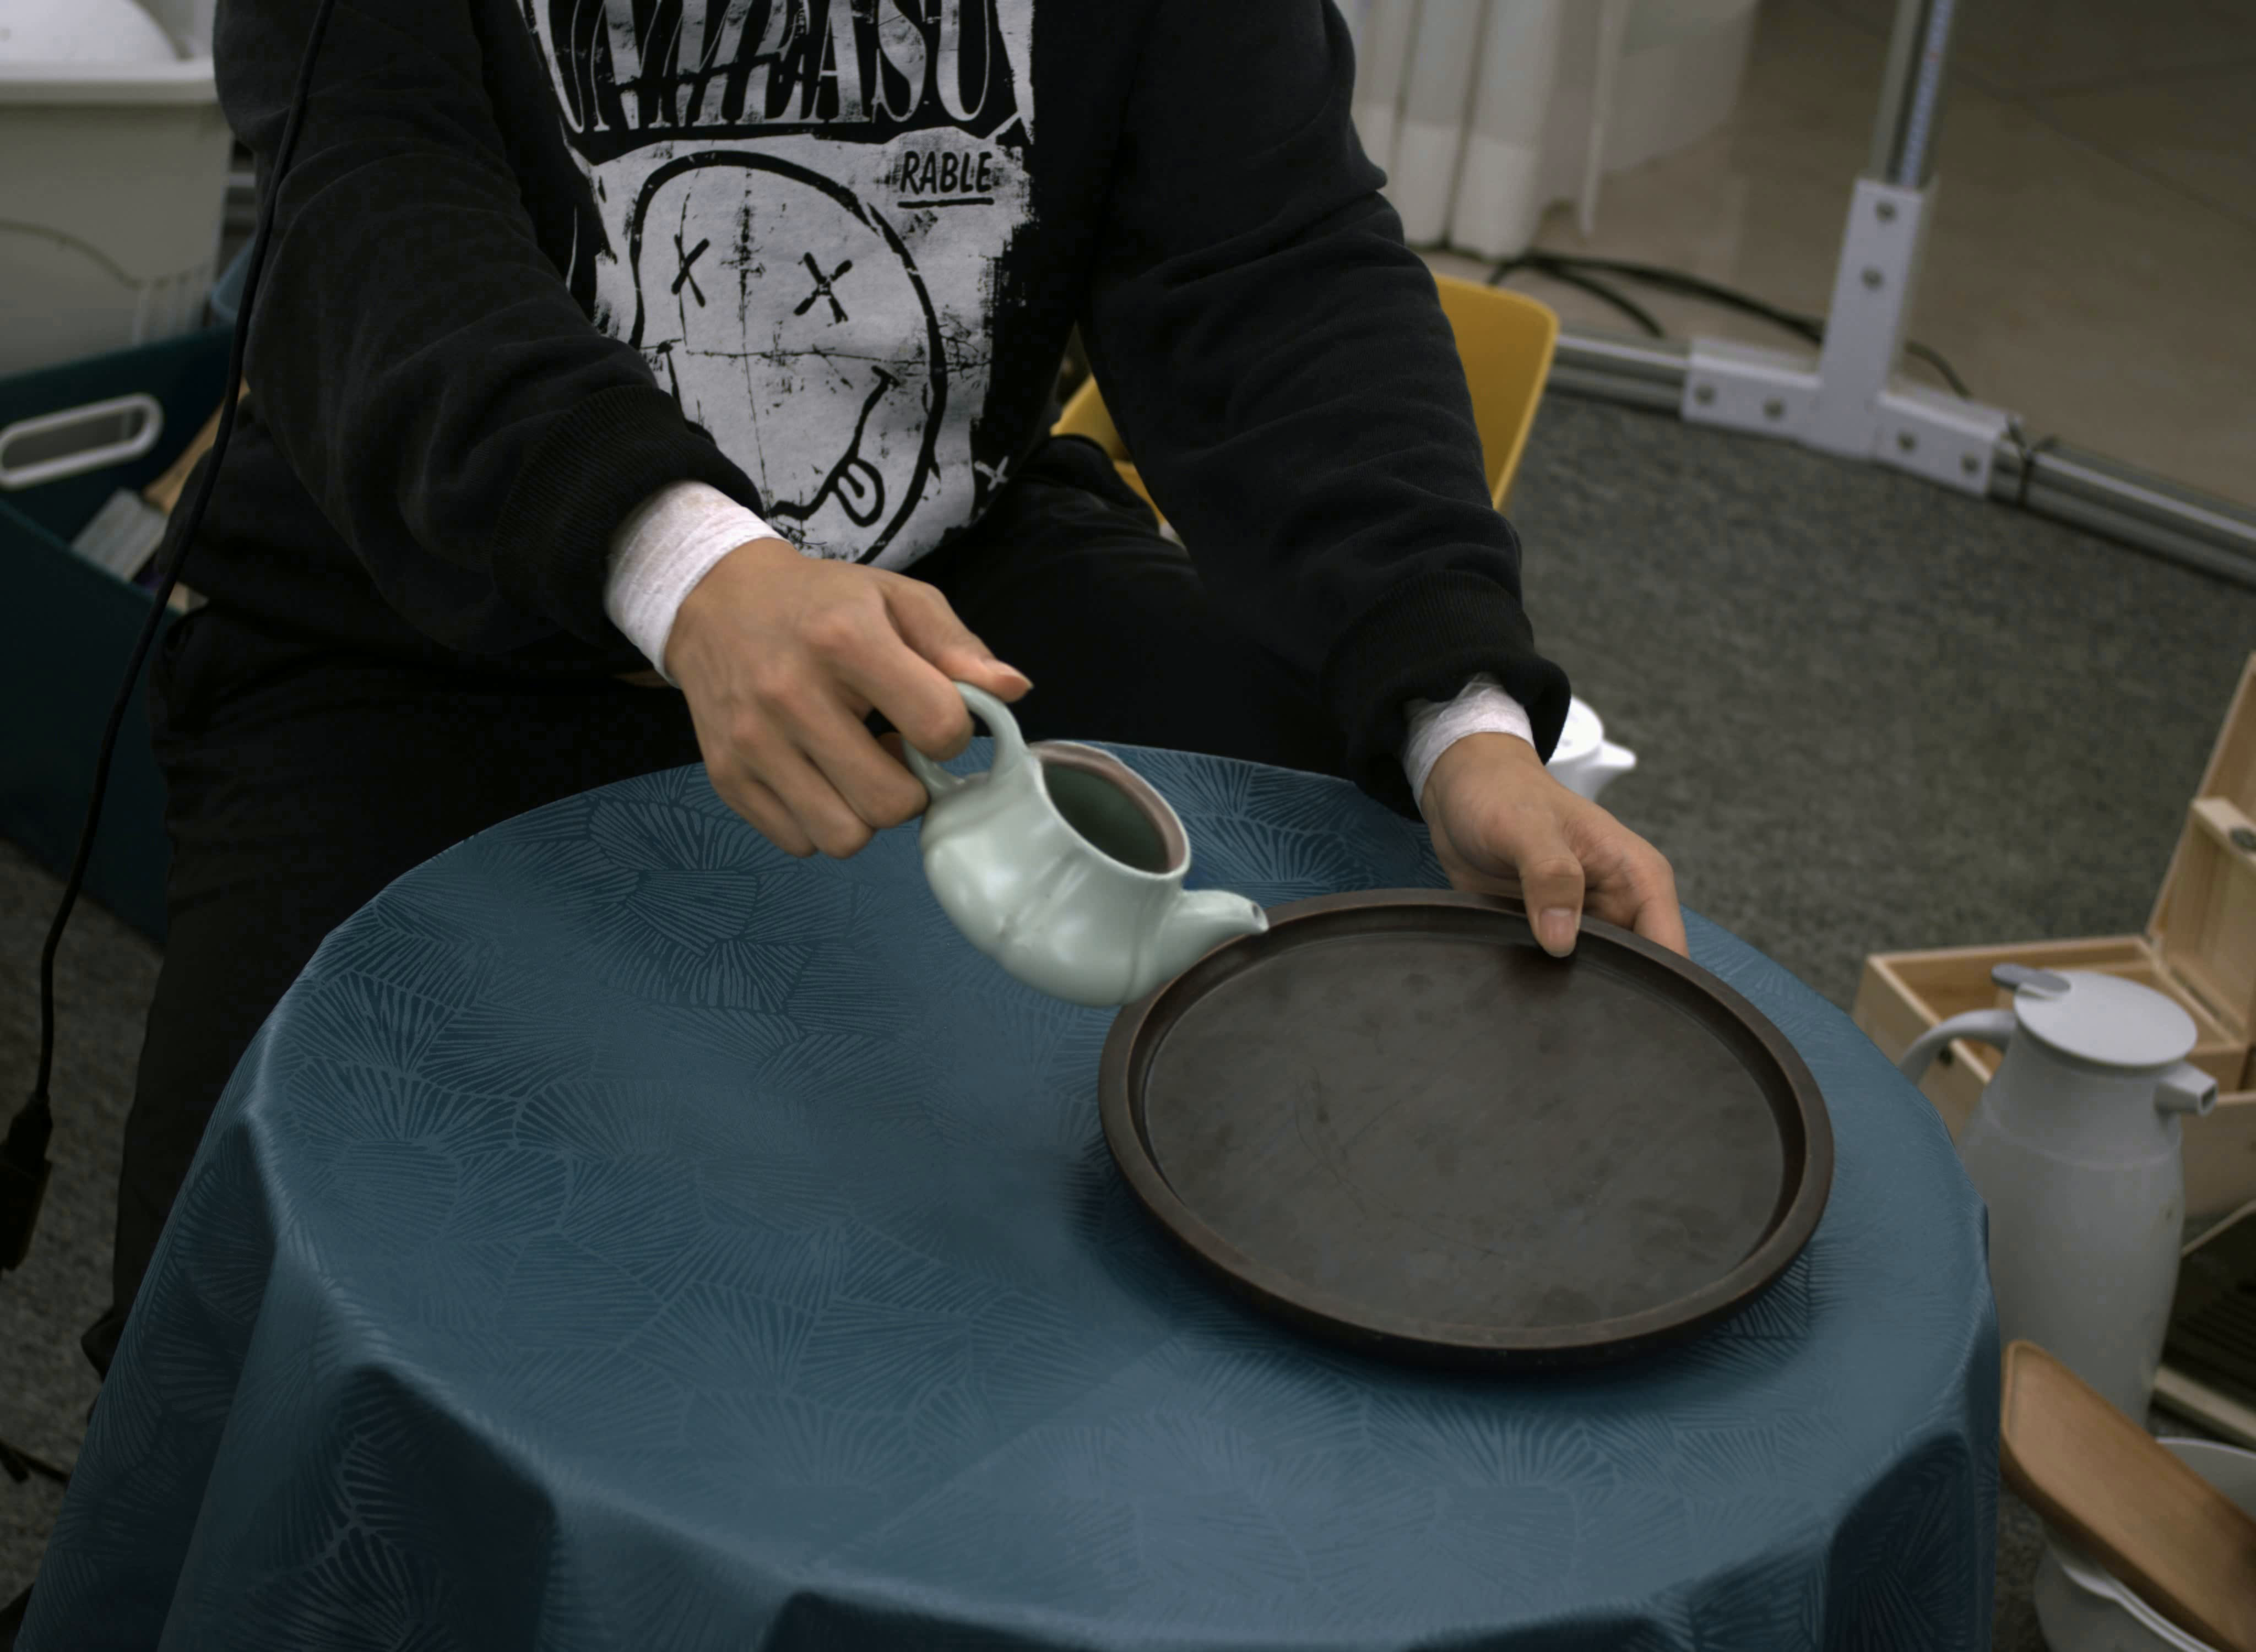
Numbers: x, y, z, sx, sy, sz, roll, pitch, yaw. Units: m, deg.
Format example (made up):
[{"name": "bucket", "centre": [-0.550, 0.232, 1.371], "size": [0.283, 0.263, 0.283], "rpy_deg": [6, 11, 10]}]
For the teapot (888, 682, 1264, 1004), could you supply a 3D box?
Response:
[{"name": "teapot", "centre": [-0.026, 0.008, 1.743], "size": [0.136, 0.061, 0.096], "rpy_deg": [37, 29, -5]}]

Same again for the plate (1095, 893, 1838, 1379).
[{"name": "plate", "centre": [0.114, 0.103, 1.811], "size": [0.254, 0.029, 0.257], "rpy_deg": [3, 36, -2]}]
